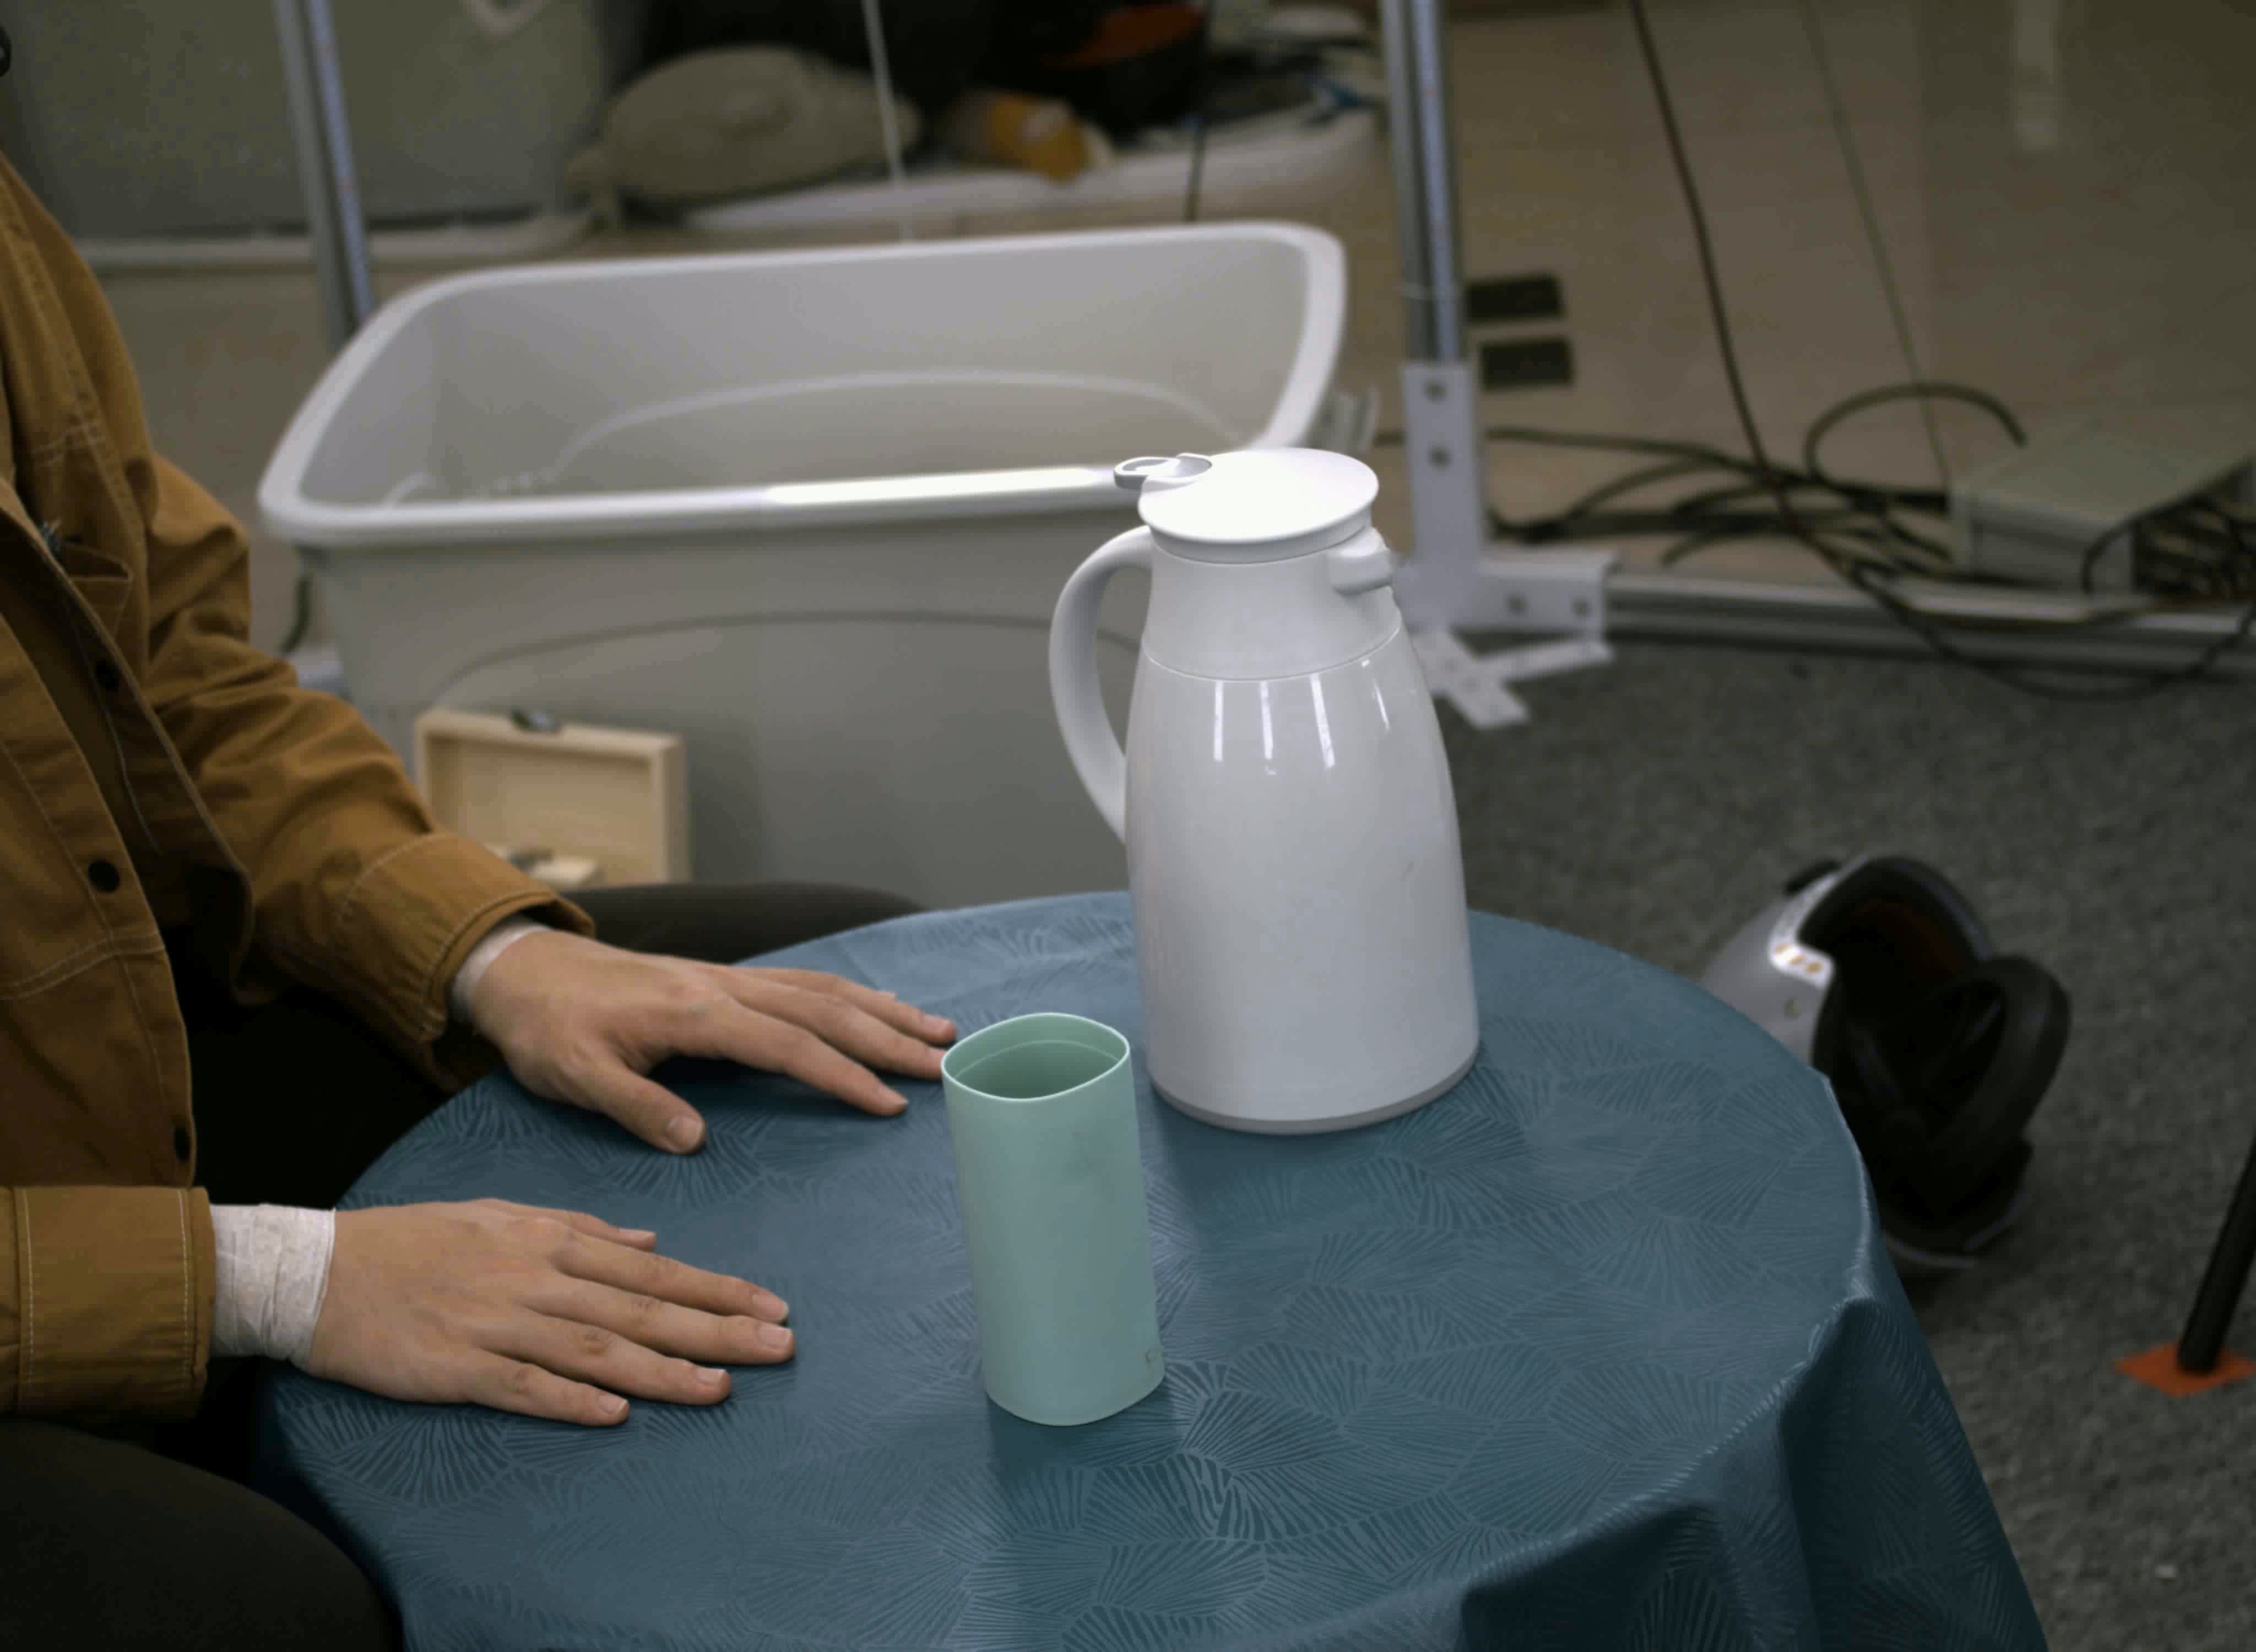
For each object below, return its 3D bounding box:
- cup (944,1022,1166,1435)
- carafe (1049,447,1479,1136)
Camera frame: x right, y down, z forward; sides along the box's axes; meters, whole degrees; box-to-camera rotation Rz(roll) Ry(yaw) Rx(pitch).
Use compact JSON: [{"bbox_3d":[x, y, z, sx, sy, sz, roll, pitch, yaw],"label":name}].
[{"bbox_3d":[-0.026,0.142,2.001,0.066,0.134,0.066,-5,26,3],"label":"cup"},{"bbox_3d":[0.044,-0.023,2.189,0.167,0.252,0.131,11,31,34],"label":"carafe"}]
